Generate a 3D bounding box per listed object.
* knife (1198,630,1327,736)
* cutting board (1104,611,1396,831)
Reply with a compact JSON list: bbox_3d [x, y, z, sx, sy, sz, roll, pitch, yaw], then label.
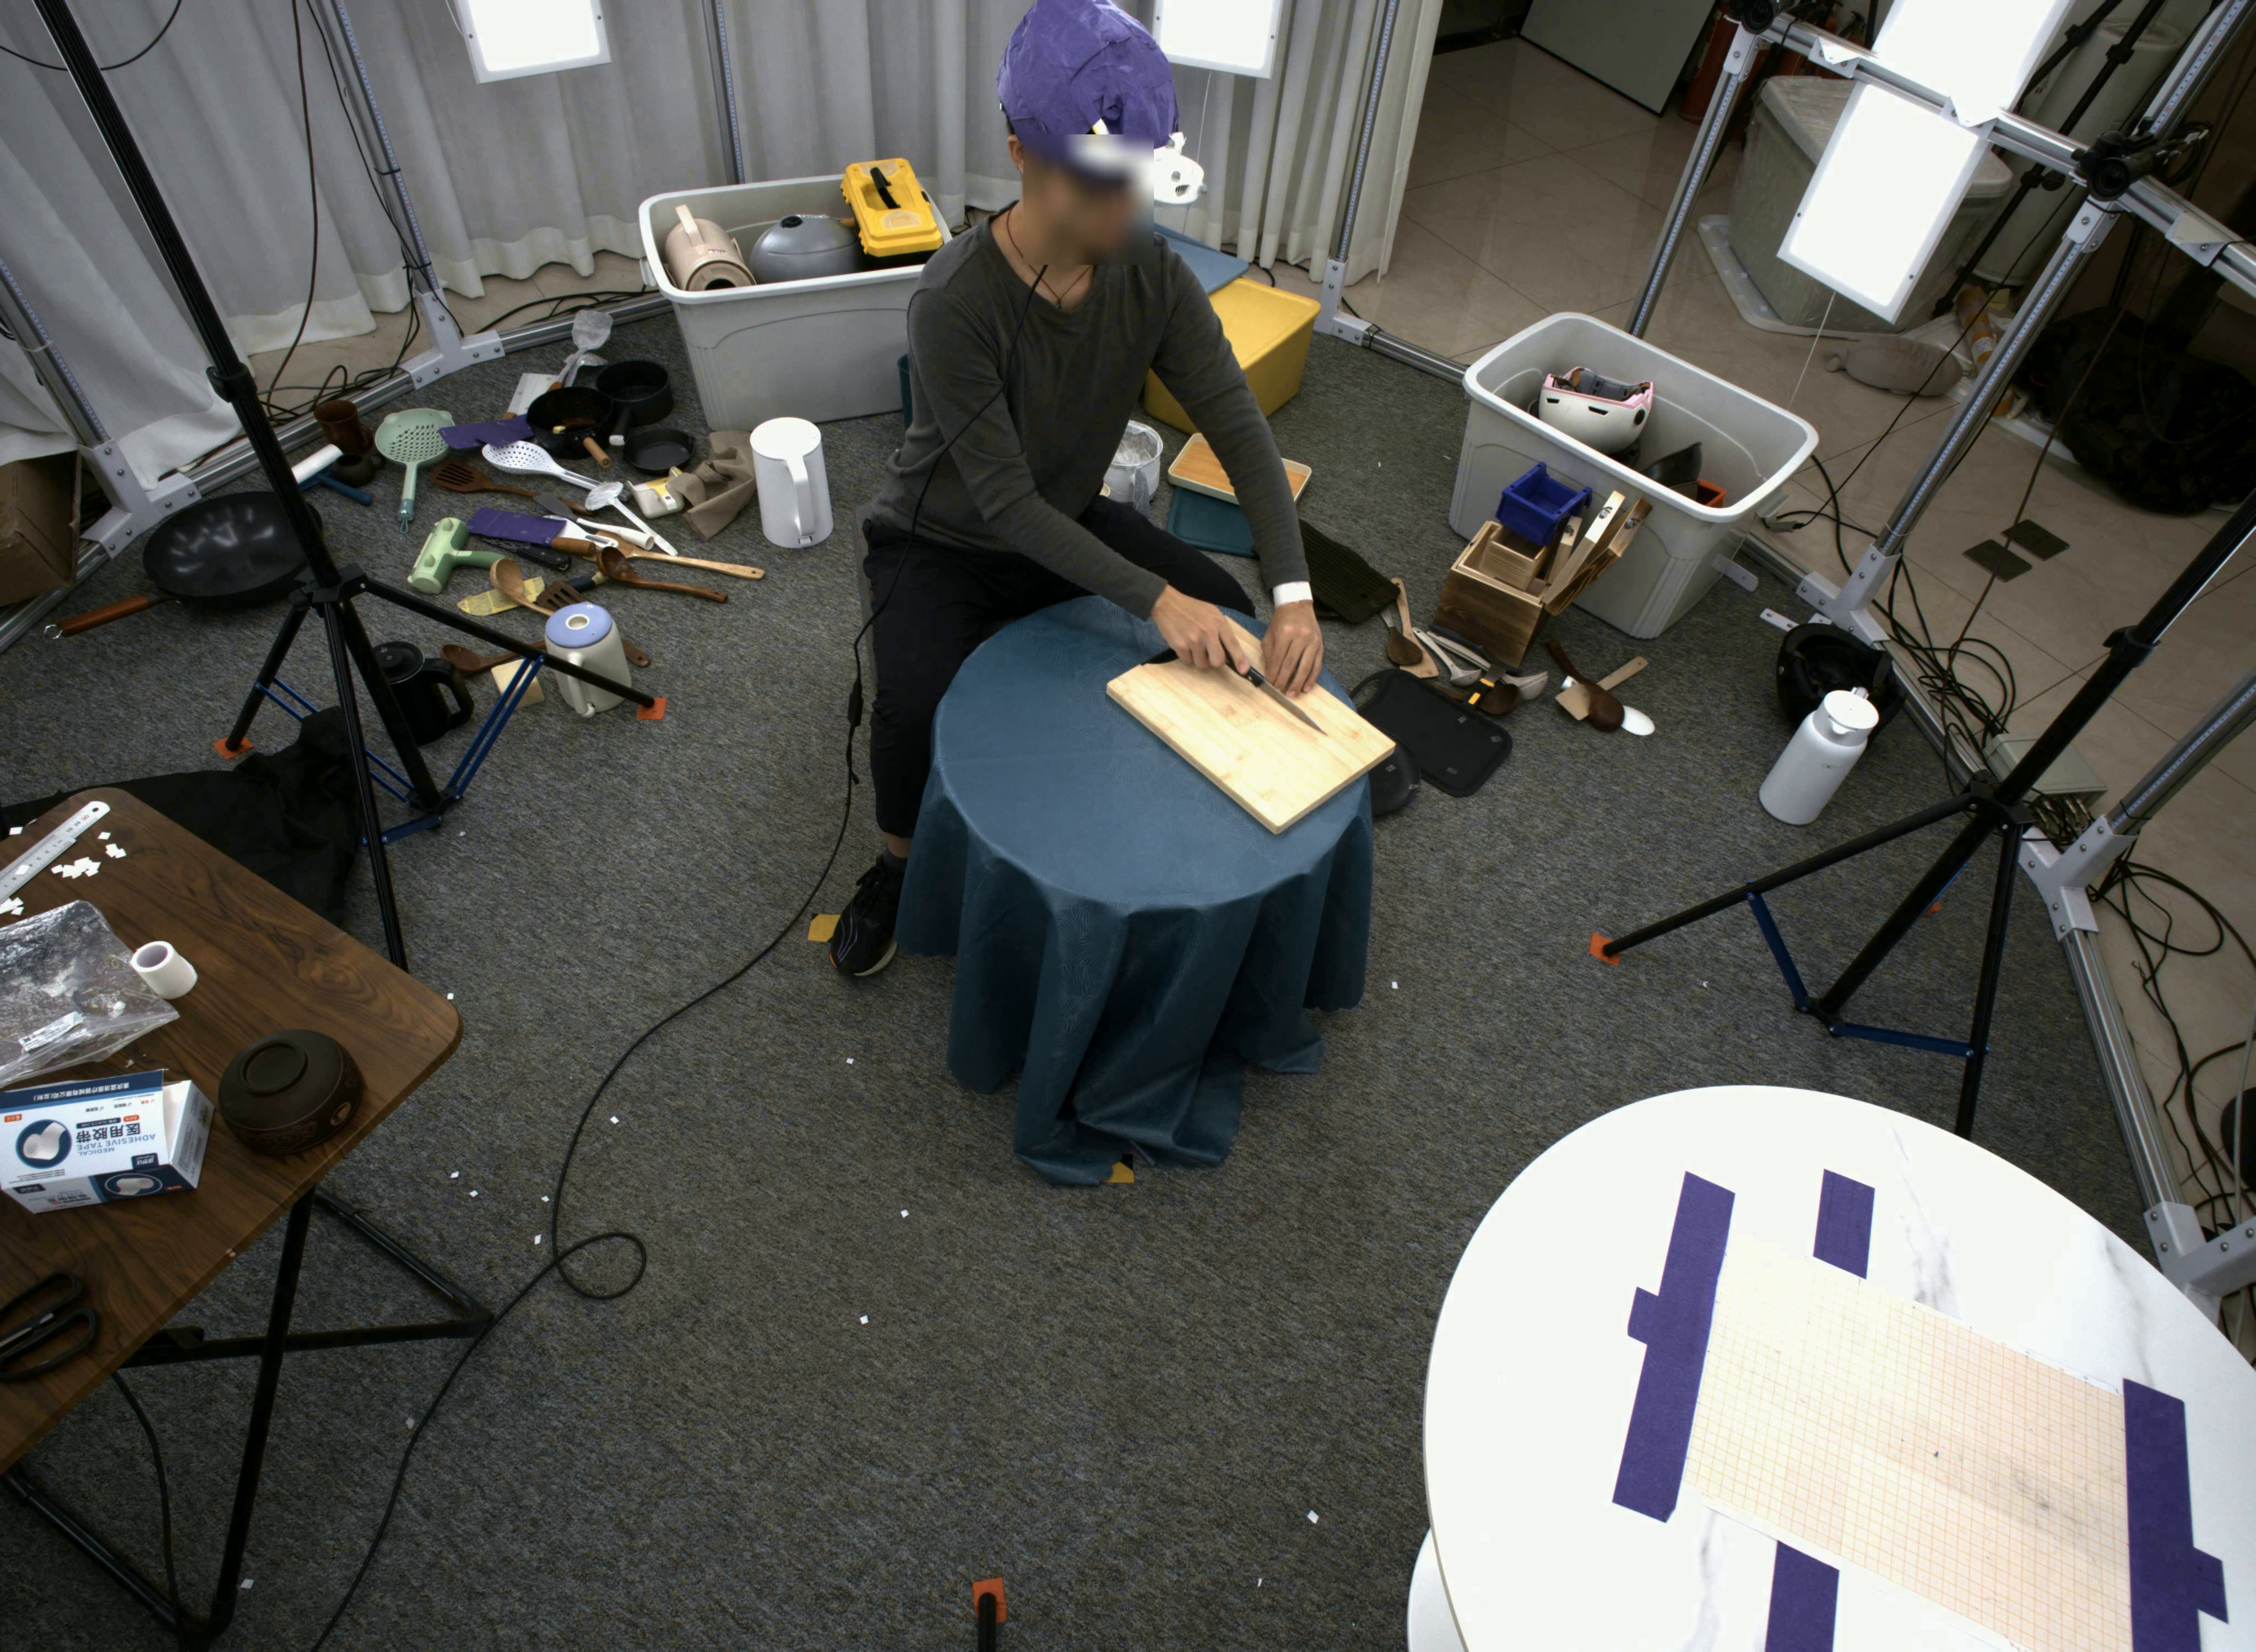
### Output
[{"bbox_3d":[0.188,-0.201,1.788,0.016,0.024,0.241,-36,67,-29],"label":"knife"},{"bbox_3d":[0.167,-0.156,1.804,0.252,0.023,0.354,-33,59,-28],"label":"cutting board"}]
